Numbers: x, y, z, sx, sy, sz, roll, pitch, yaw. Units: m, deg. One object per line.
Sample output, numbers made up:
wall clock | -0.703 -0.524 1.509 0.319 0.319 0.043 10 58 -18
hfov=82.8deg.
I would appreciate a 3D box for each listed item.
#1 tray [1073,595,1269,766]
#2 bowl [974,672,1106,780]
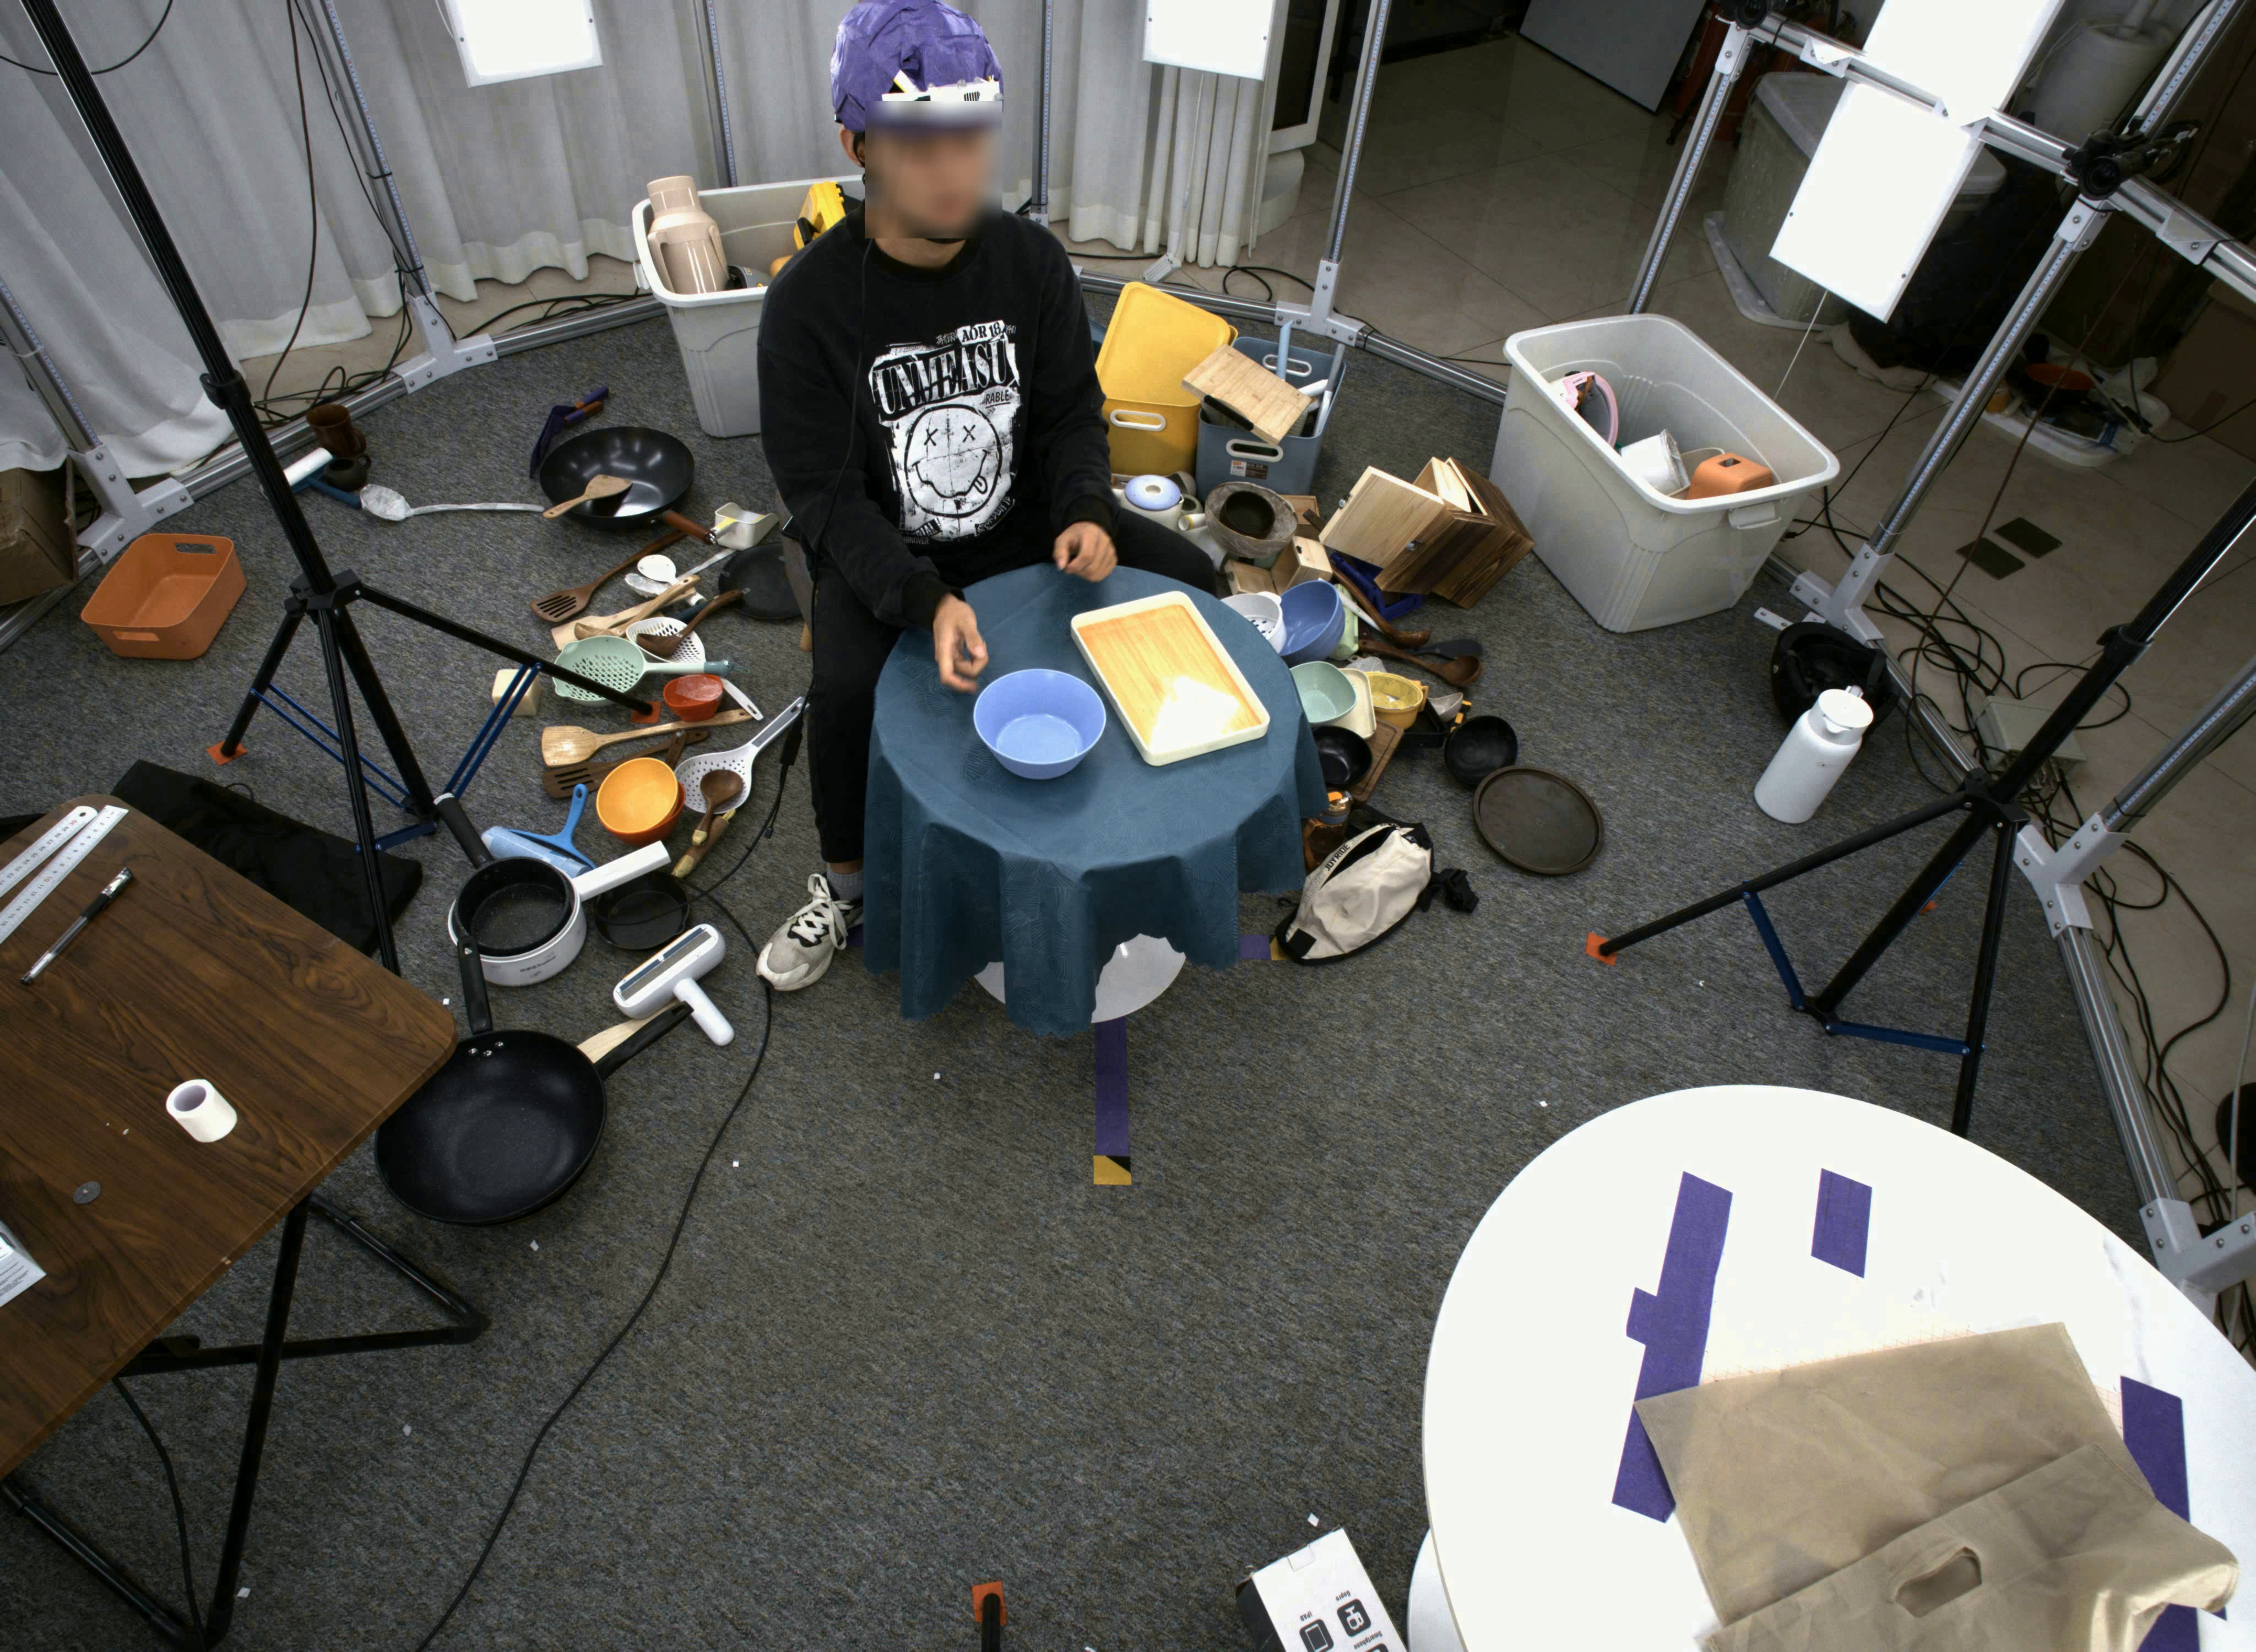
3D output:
tray | 0.058 -0.217 1.860 0.192 0.027 0.307 -16 52 -18
bowl | -0.119 -0.127 1.740 0.176 0.068 0.180 3 49 -3
